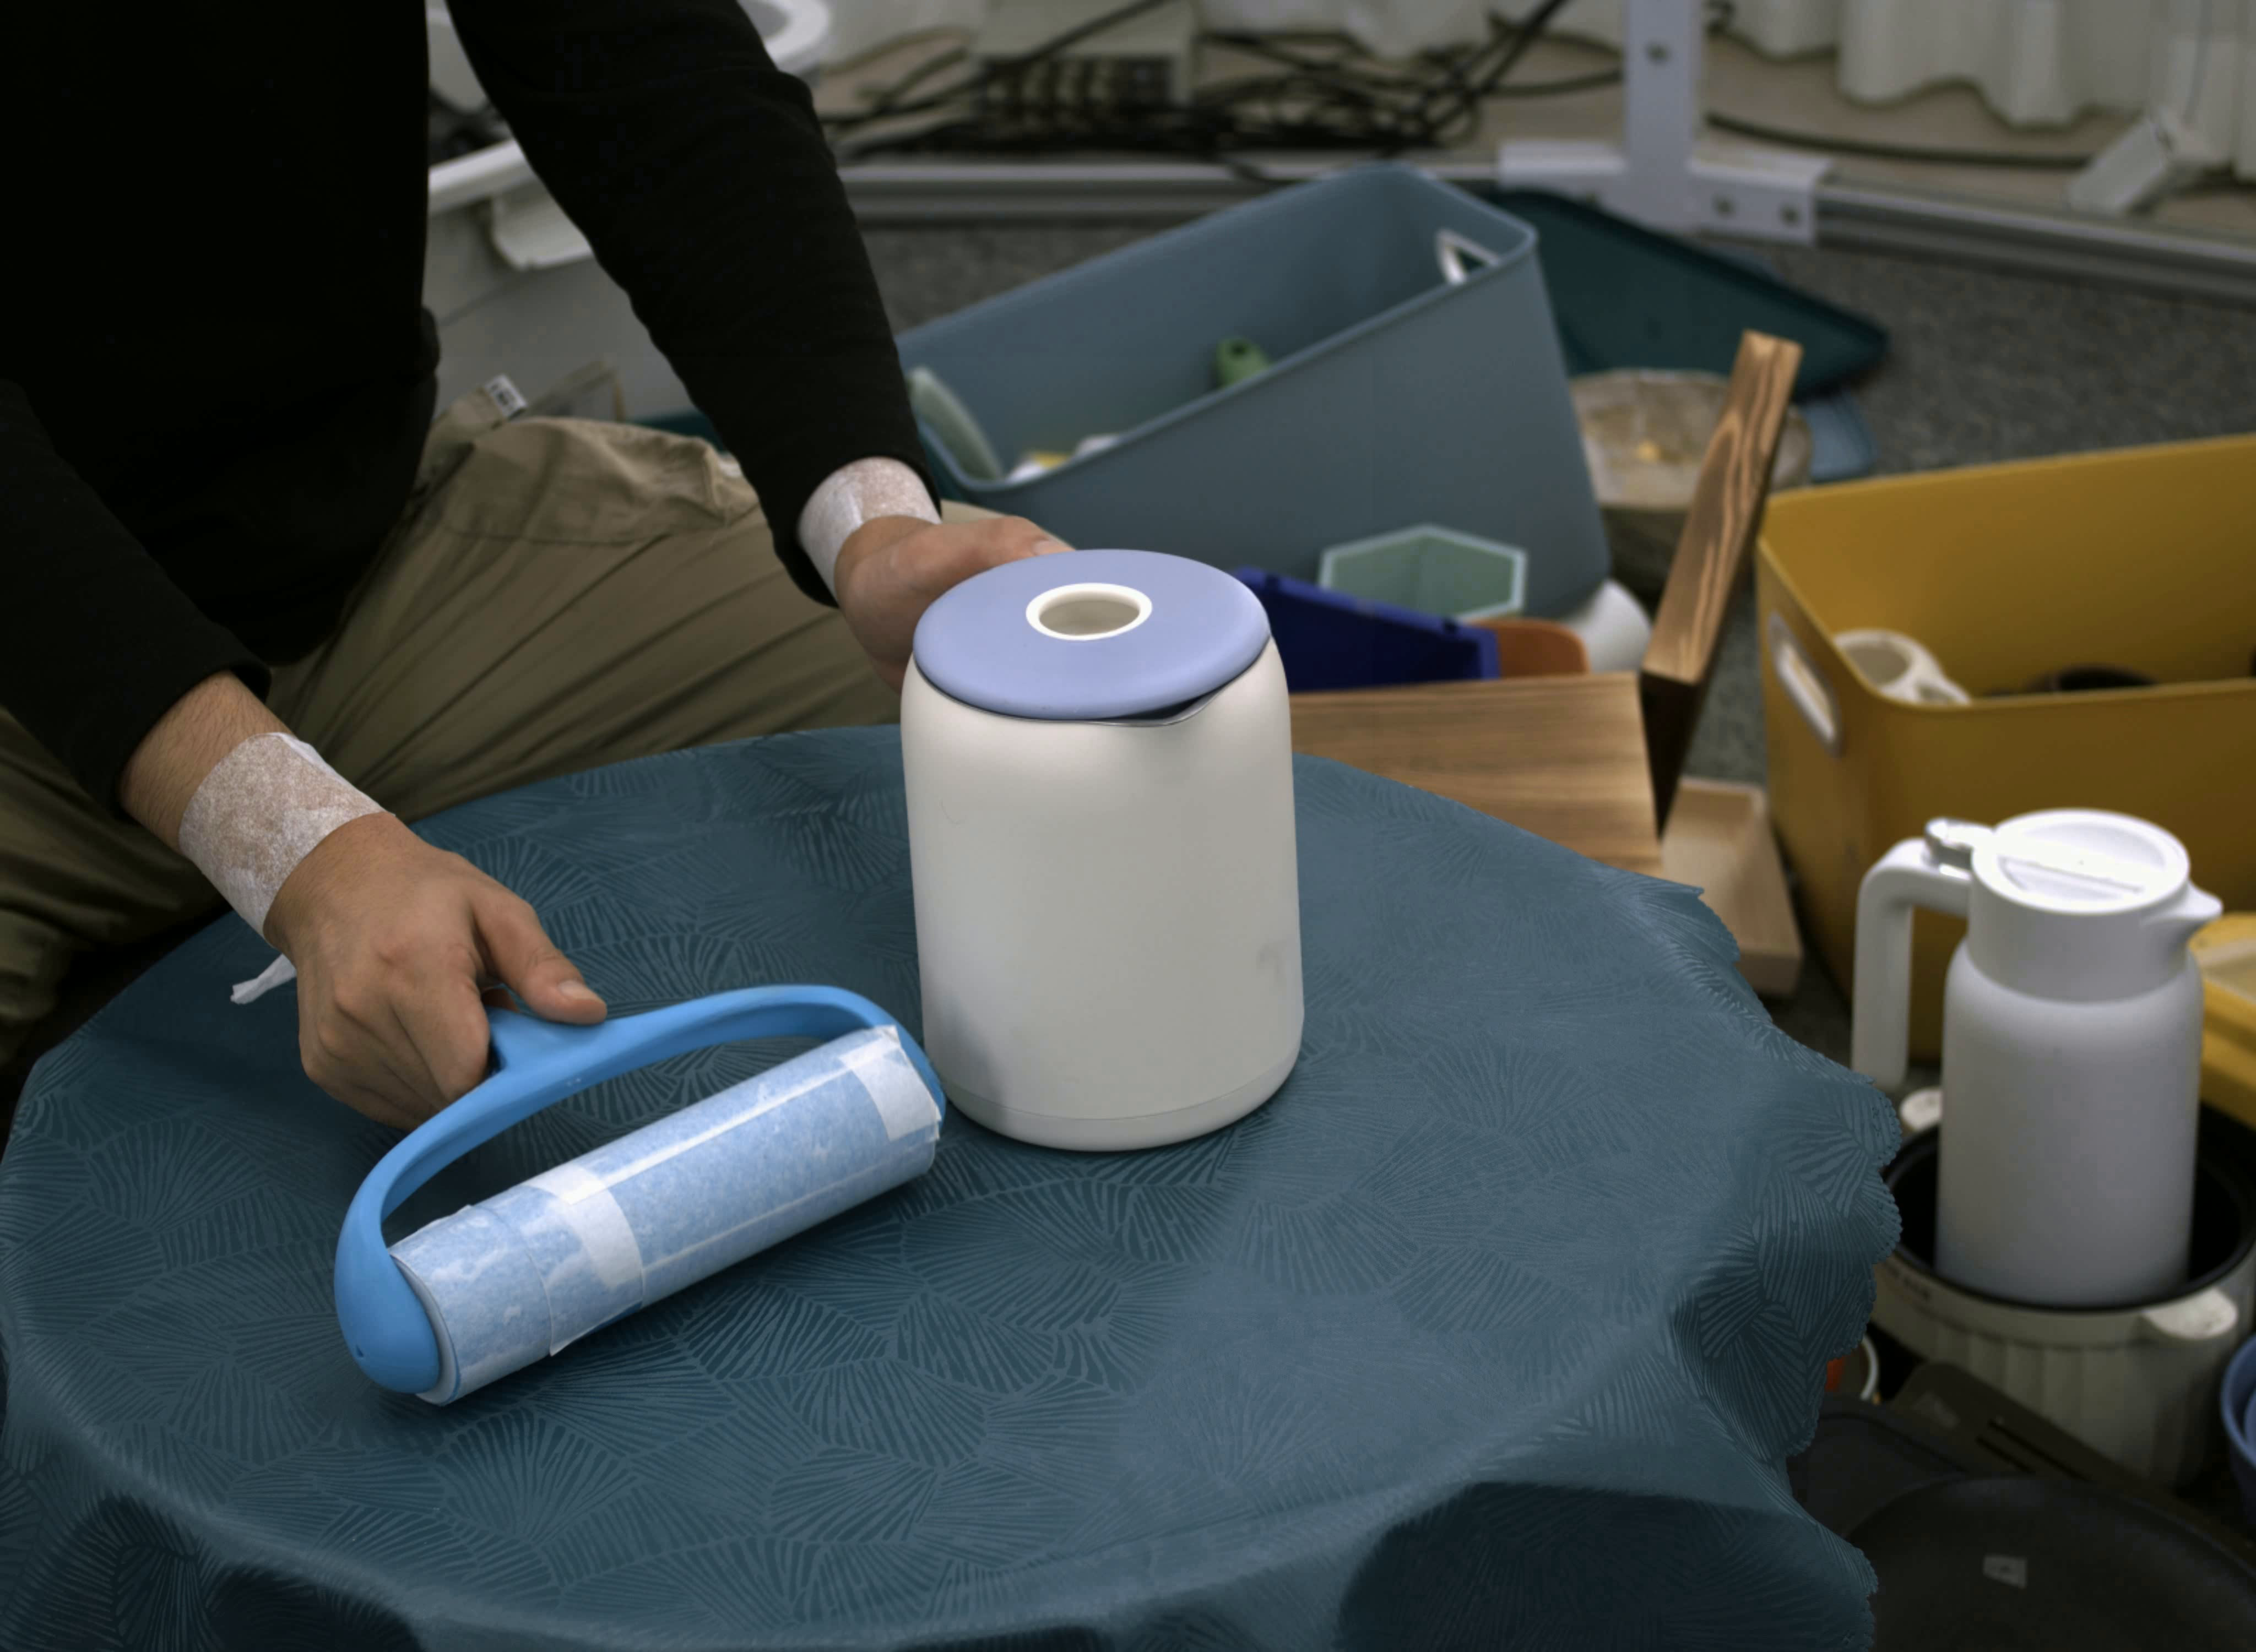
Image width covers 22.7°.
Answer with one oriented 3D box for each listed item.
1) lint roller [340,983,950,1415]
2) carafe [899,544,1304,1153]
[{"bbox_3d":[-0.191,0.096,1.846,0.231,0.067,0.181,-28,49,-33],"label":"lint roller"},{"bbox_3d":[-0.019,-0.002,1.918,0.133,0.181,0.192,-14,27,-22],"label":"carafe"}]
